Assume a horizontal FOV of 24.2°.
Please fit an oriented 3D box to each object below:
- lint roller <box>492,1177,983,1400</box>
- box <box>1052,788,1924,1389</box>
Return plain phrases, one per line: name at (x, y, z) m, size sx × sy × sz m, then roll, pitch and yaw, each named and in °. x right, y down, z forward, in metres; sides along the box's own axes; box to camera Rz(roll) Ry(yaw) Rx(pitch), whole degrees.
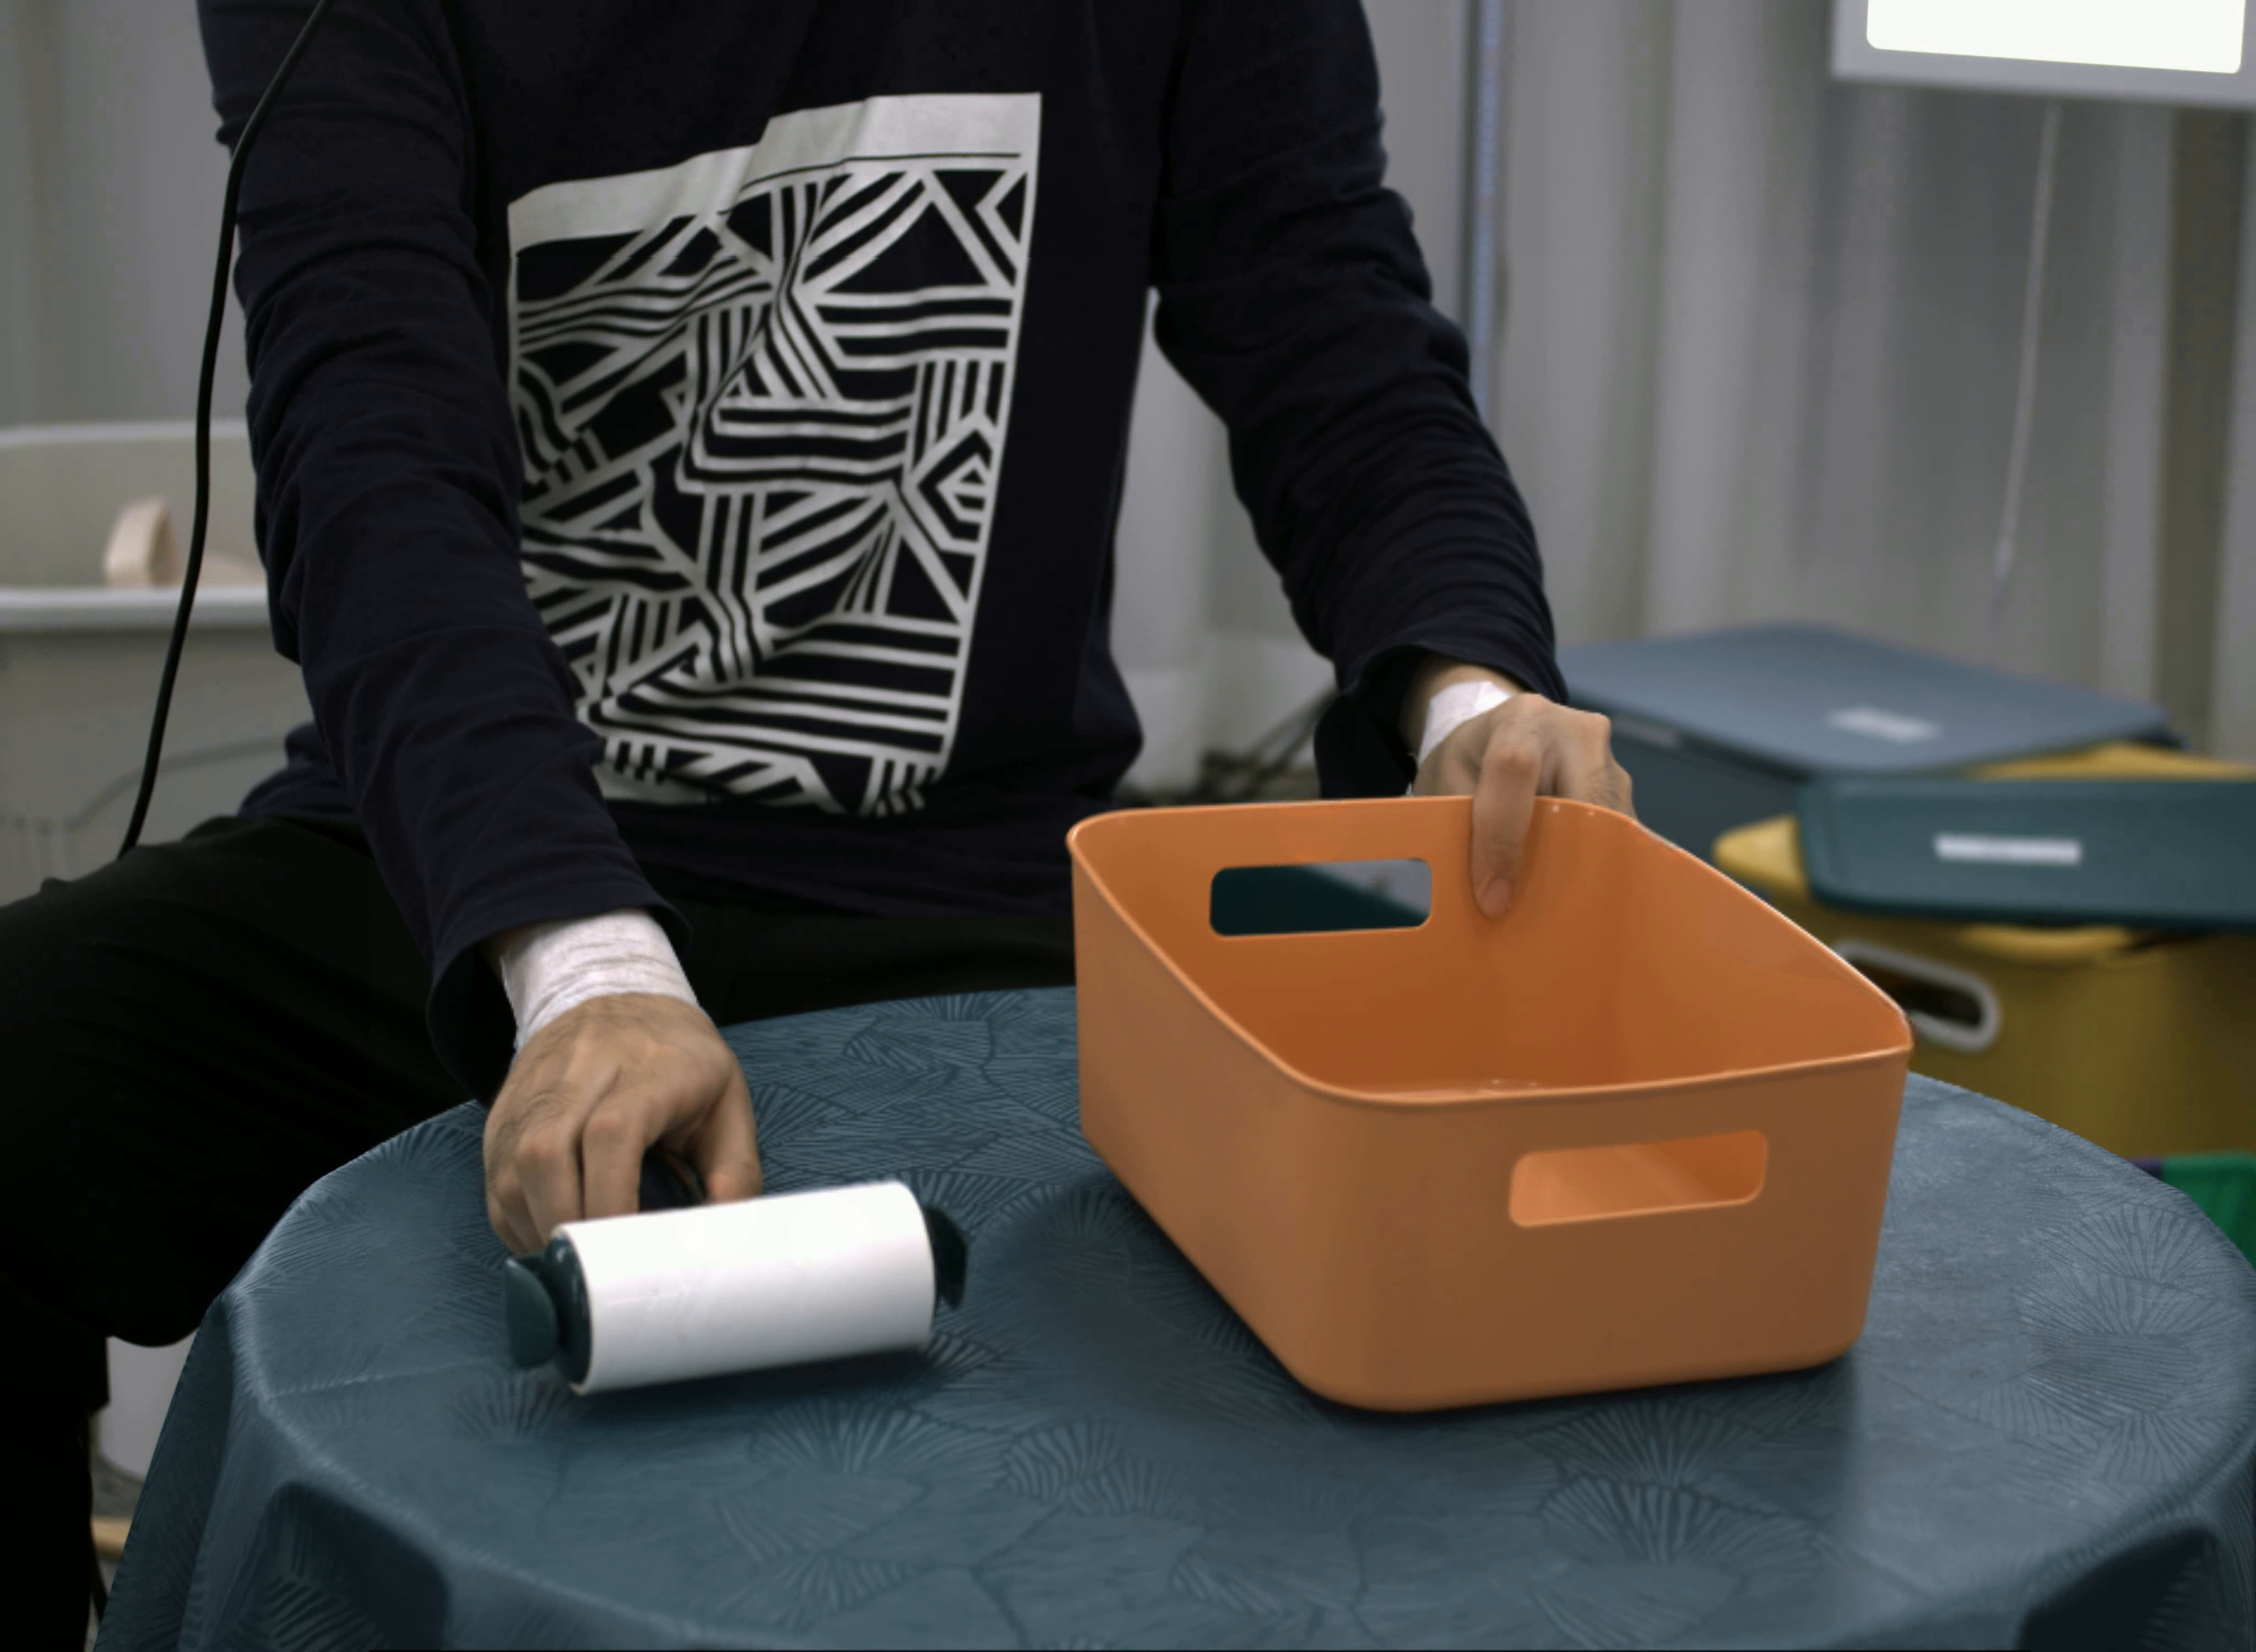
lint roller at (-0.133, 0.112, 1.515) m, size 0.135 × 0.049 × 0.178 m, roll -6°, pitch 17°, yaw -22°
box at (0.096, 0.074, 1.549) m, size 0.200 × 0.103 × 0.270 m, roll -3°, pitch 16°, yaw -19°
